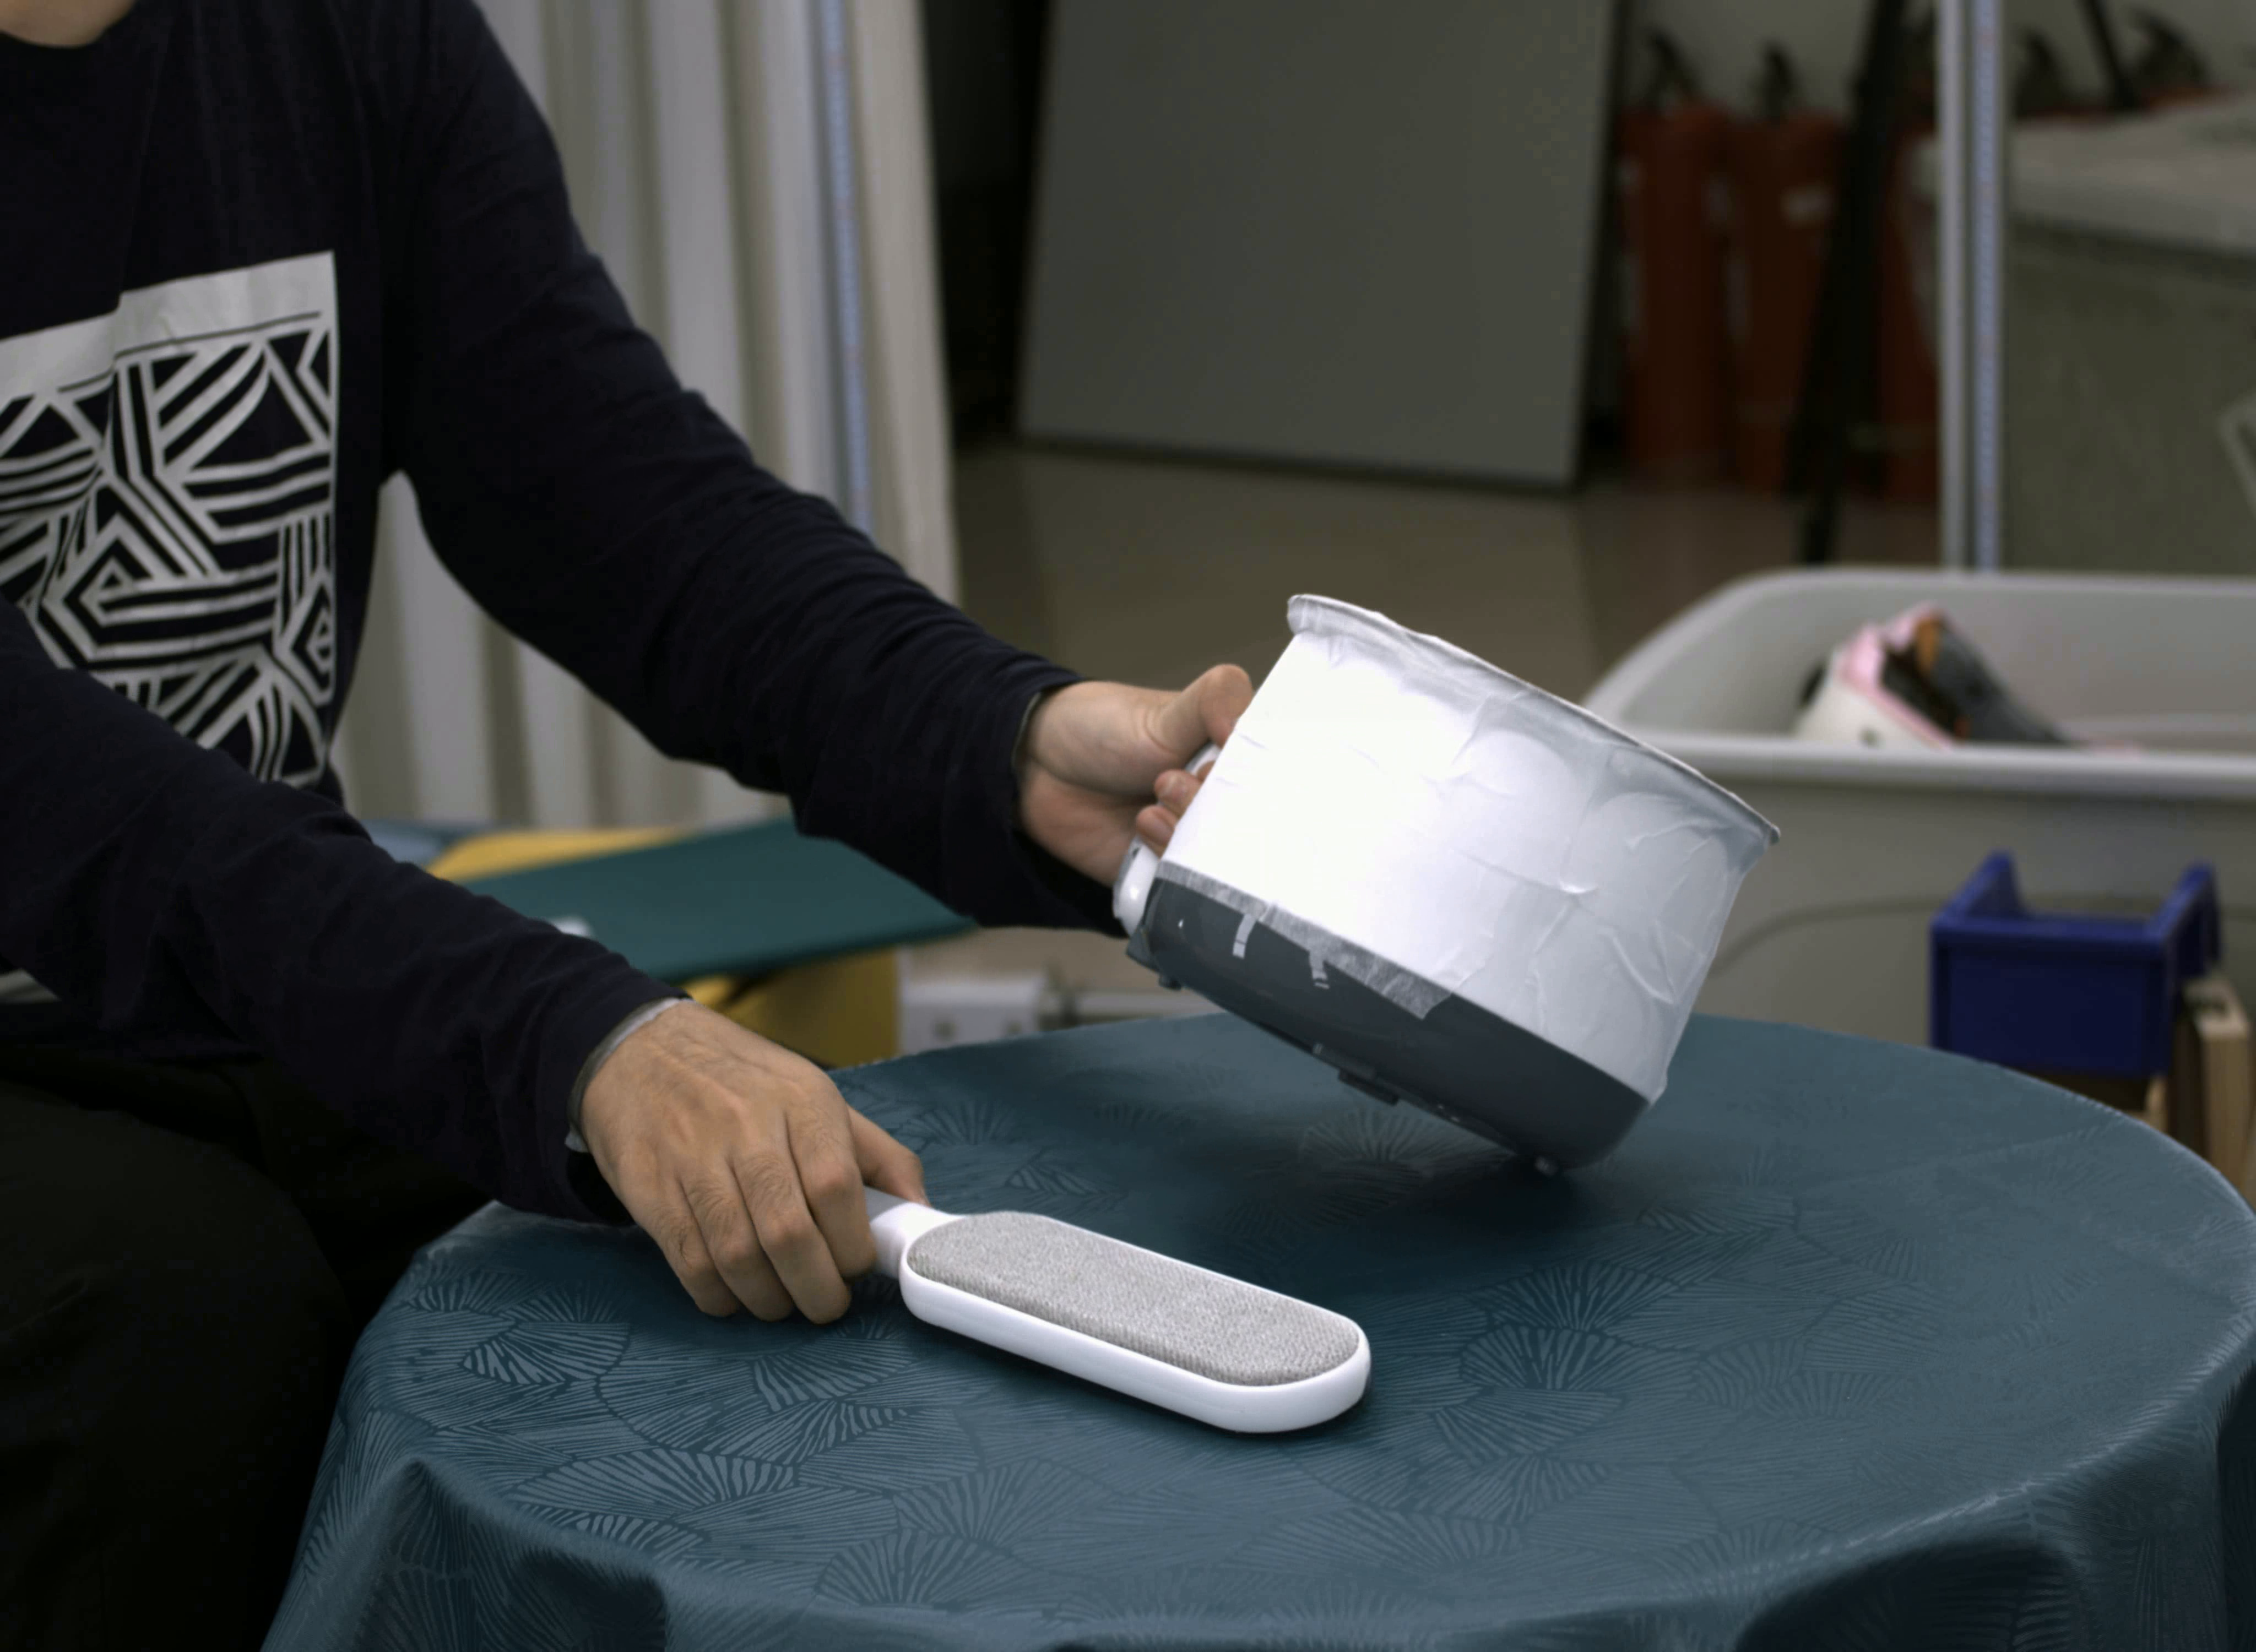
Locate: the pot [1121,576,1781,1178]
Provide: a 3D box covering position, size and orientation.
[{"bbox_3d":[0.088,0.012,1.750,0.175,0.137,0.236,31,-5,-37],"label":"pot"}]

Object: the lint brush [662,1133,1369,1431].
[{"bbox_3d":[-0.042,0.134,1.648,0.059,0.021,0.312,-29,28,-35],"label":"lint brush"}]
